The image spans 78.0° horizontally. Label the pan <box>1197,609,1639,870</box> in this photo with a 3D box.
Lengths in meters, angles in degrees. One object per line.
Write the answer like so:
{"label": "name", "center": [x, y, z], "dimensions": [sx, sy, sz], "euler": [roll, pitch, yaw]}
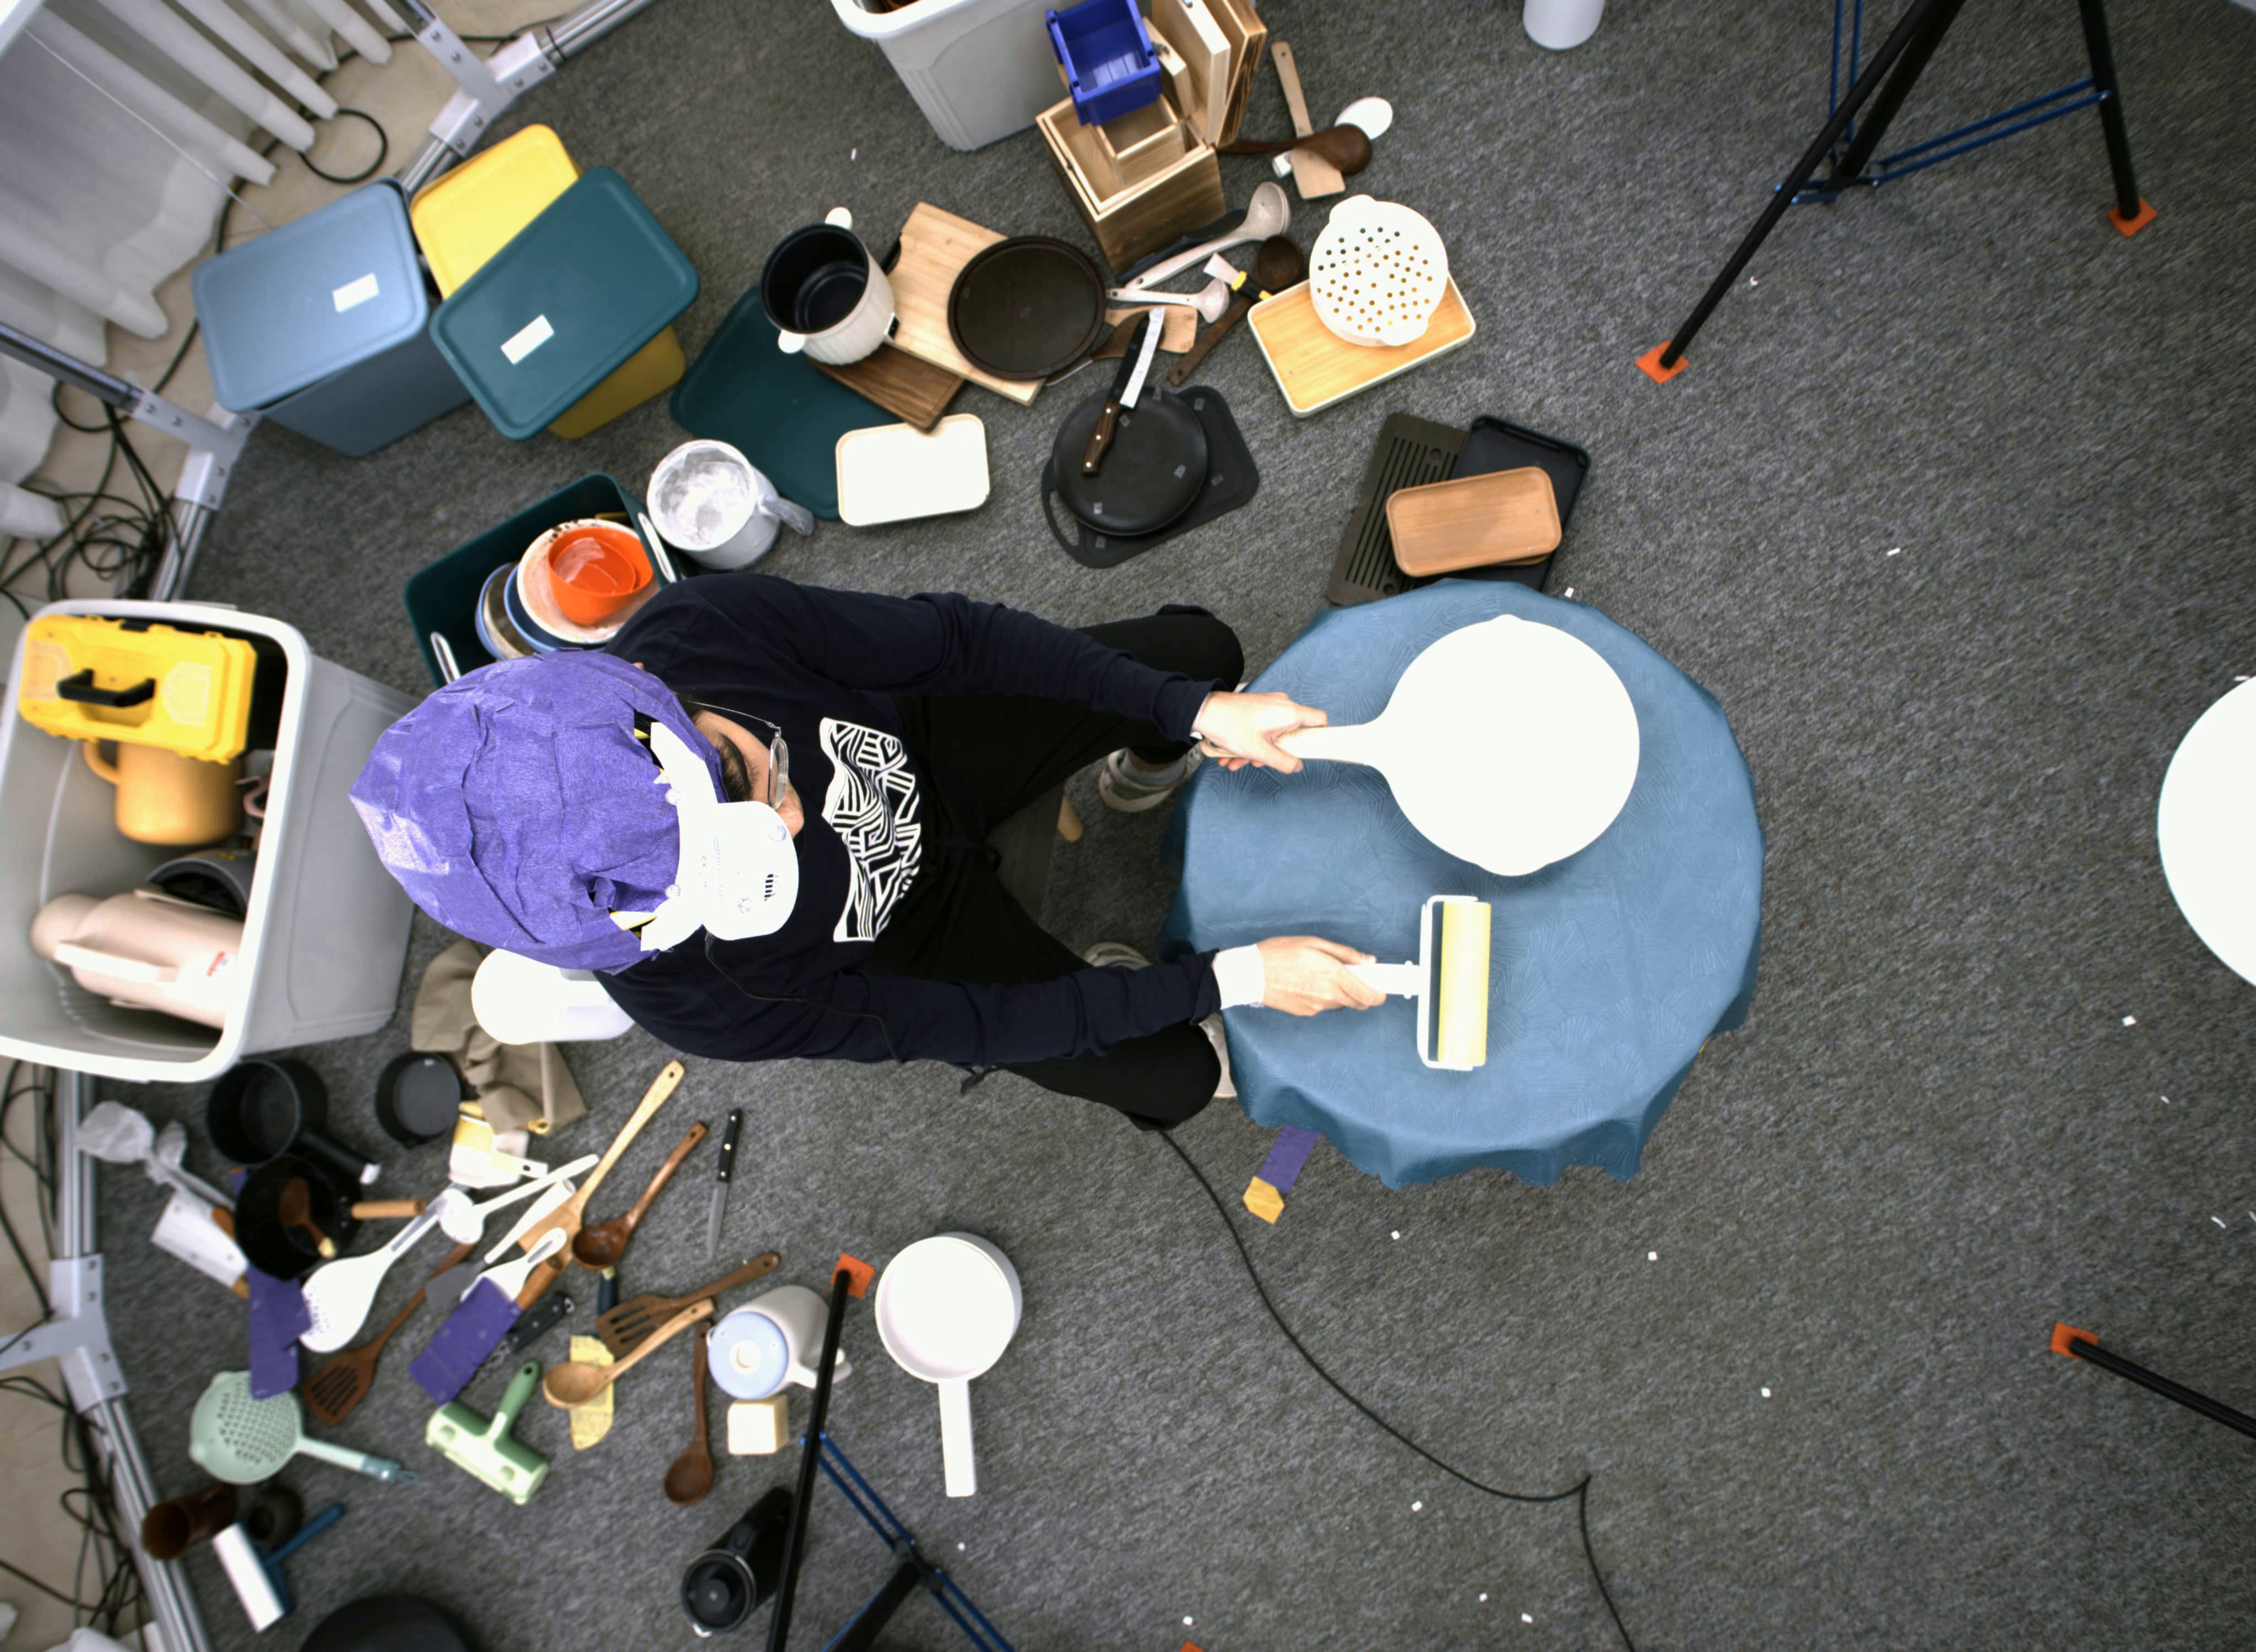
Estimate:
{"label": "pan", "center": [0.292, -0.085, 1.407], "dimensions": [0.436, 0.102, 0.262], "euler": [-1, 87, 9]}

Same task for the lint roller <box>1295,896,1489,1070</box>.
{"label": "lint roller", "center": [0.266, 0.154, 1.389], "dimensions": [0.192, 0.051, 0.174], "euler": [1, 90, 0]}
